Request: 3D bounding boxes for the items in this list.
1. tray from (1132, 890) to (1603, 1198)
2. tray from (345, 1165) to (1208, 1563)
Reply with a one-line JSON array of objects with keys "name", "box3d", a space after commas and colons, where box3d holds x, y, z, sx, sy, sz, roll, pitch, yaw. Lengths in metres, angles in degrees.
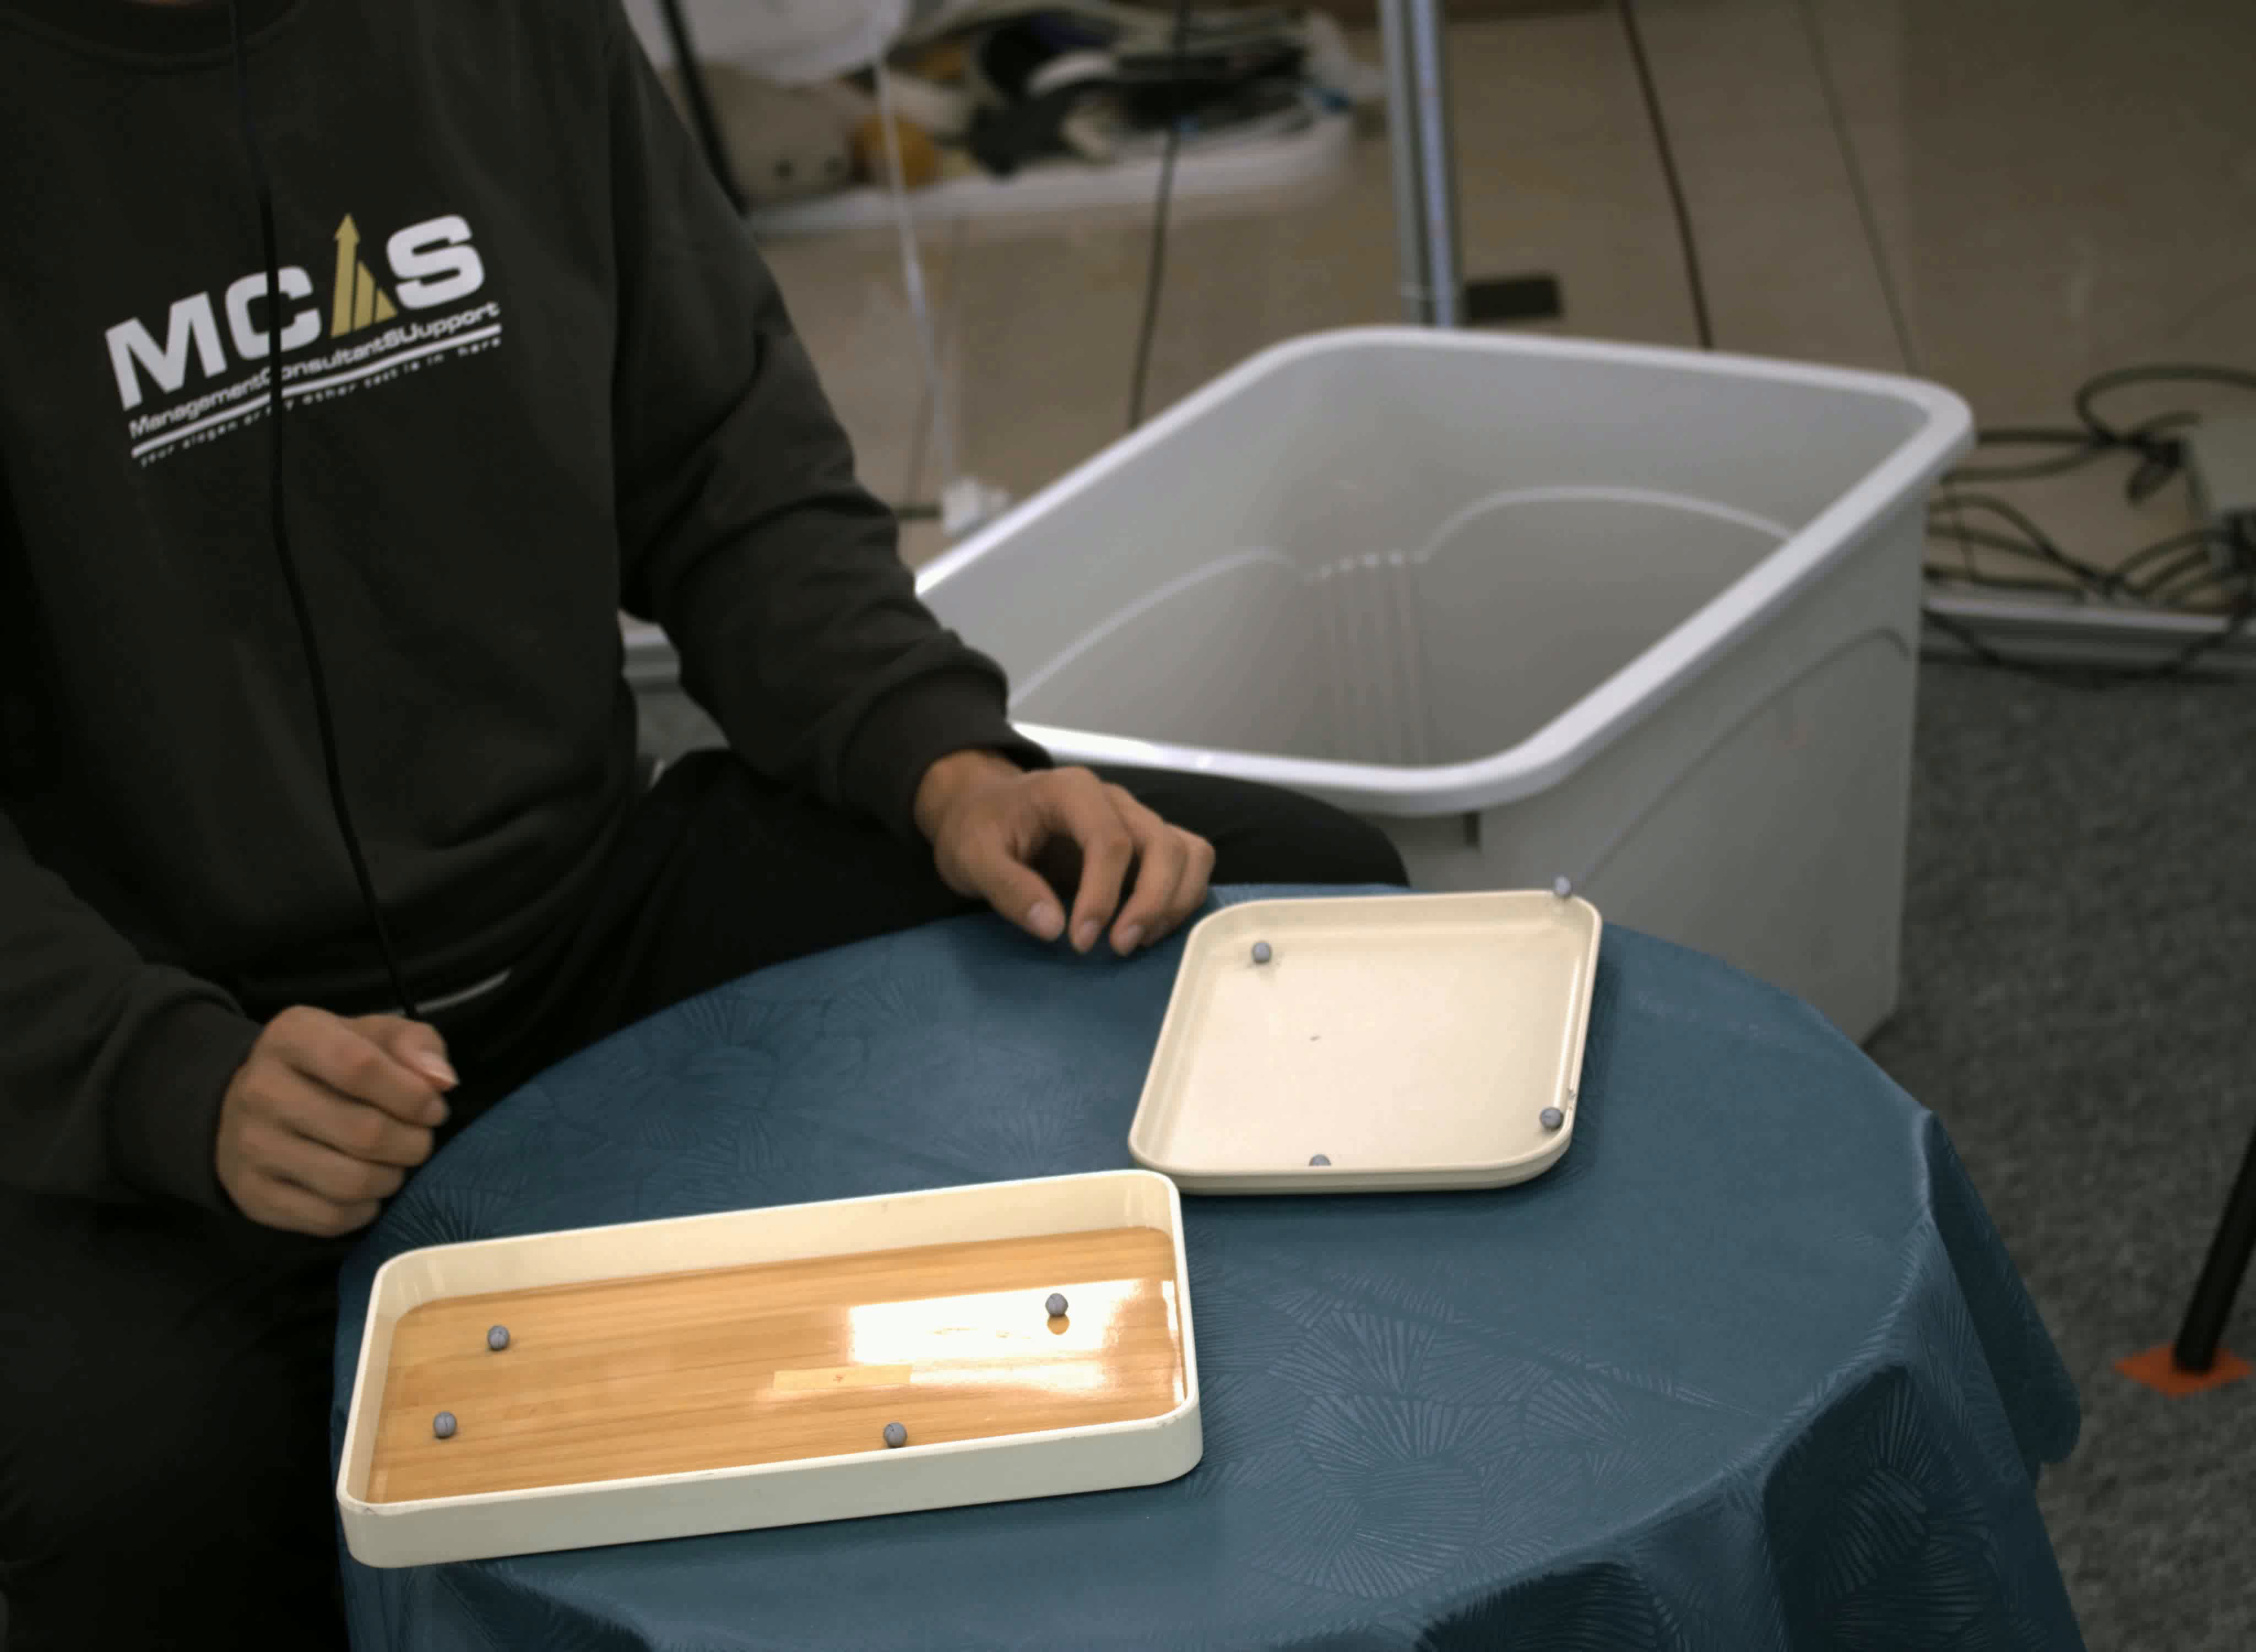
[{"name": "tray", "box3d": [0.097, 0.085, 2.220, 0.171, 0.018, 0.236, -3, 25, 10]}, {"name": "tray", "box3d": [-0.125, 0.191, 2.033, 0.300, 0.028, 0.189, -6, 24, 0]}]
